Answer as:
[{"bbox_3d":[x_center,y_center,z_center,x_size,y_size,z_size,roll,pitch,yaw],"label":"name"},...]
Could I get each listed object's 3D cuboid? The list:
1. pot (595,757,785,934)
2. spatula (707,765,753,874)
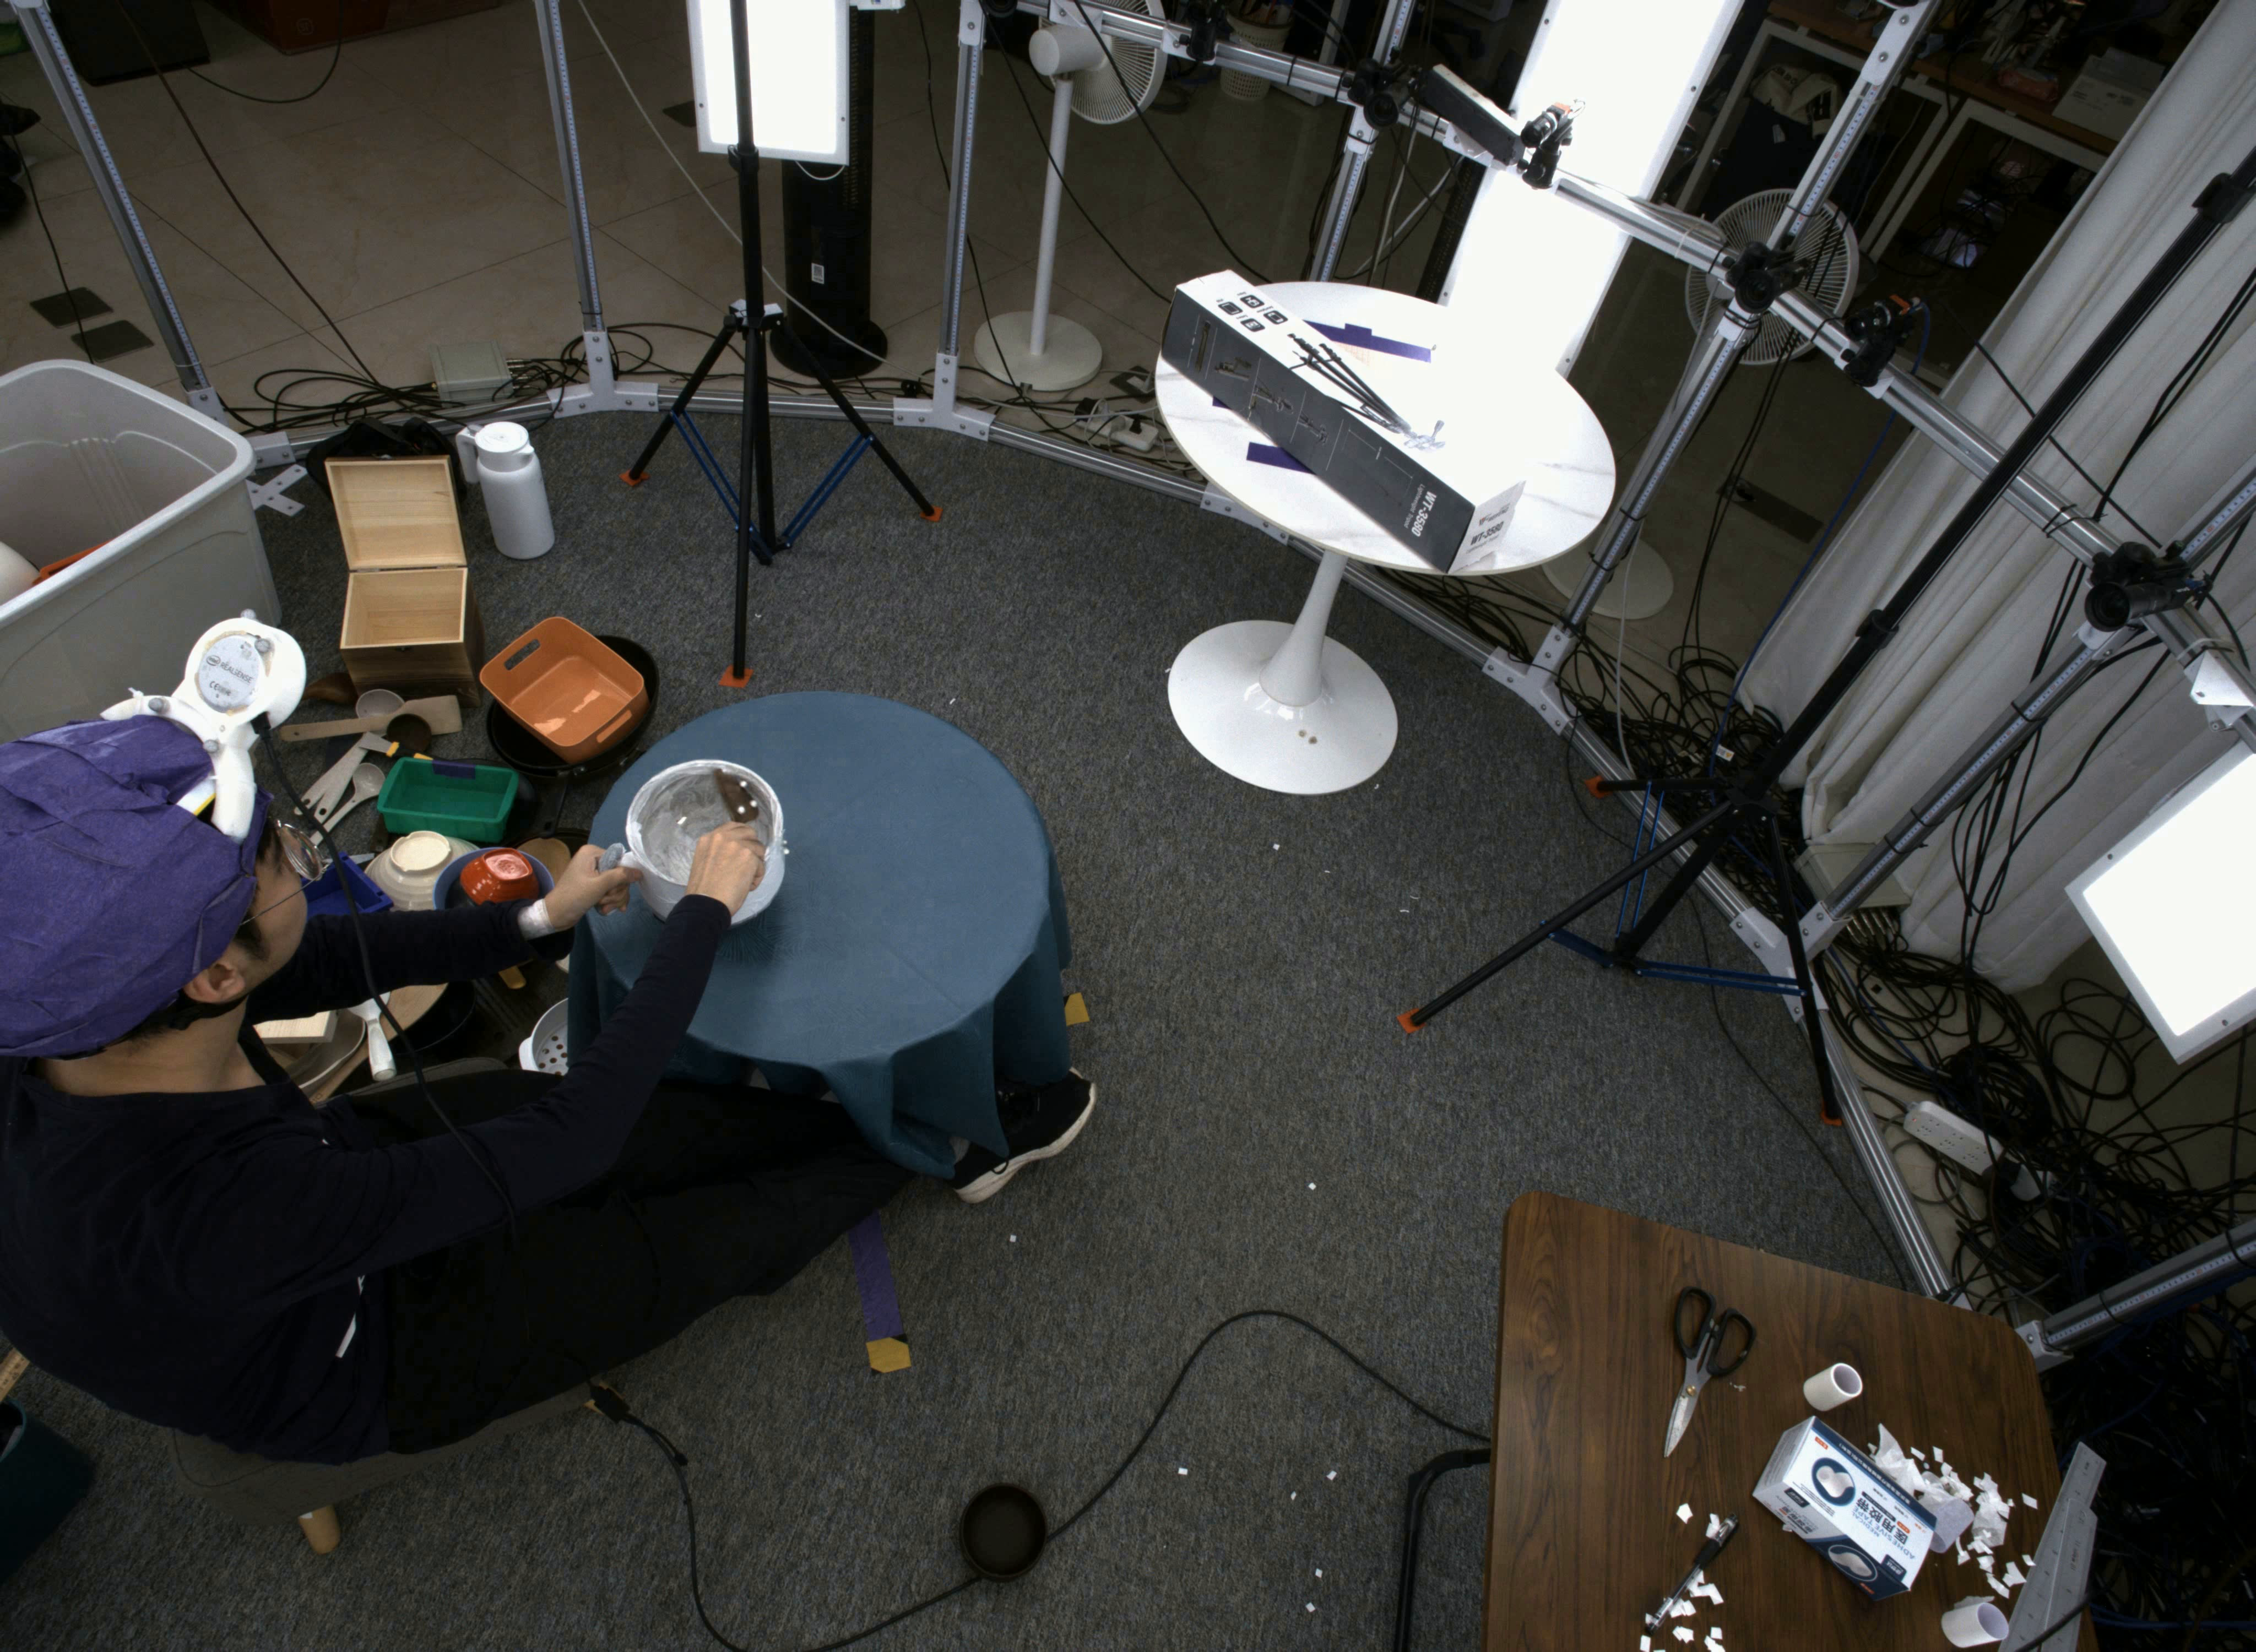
[{"bbox_3d":[-0.527,0.036,1.538,0.235,0.139,0.175,-22,63,-26],"label":"pot"},{"bbox_3d":[-0.453,-0.008,1.470,0.009,0.074,0.209,-39,35,8],"label":"spatula"}]
